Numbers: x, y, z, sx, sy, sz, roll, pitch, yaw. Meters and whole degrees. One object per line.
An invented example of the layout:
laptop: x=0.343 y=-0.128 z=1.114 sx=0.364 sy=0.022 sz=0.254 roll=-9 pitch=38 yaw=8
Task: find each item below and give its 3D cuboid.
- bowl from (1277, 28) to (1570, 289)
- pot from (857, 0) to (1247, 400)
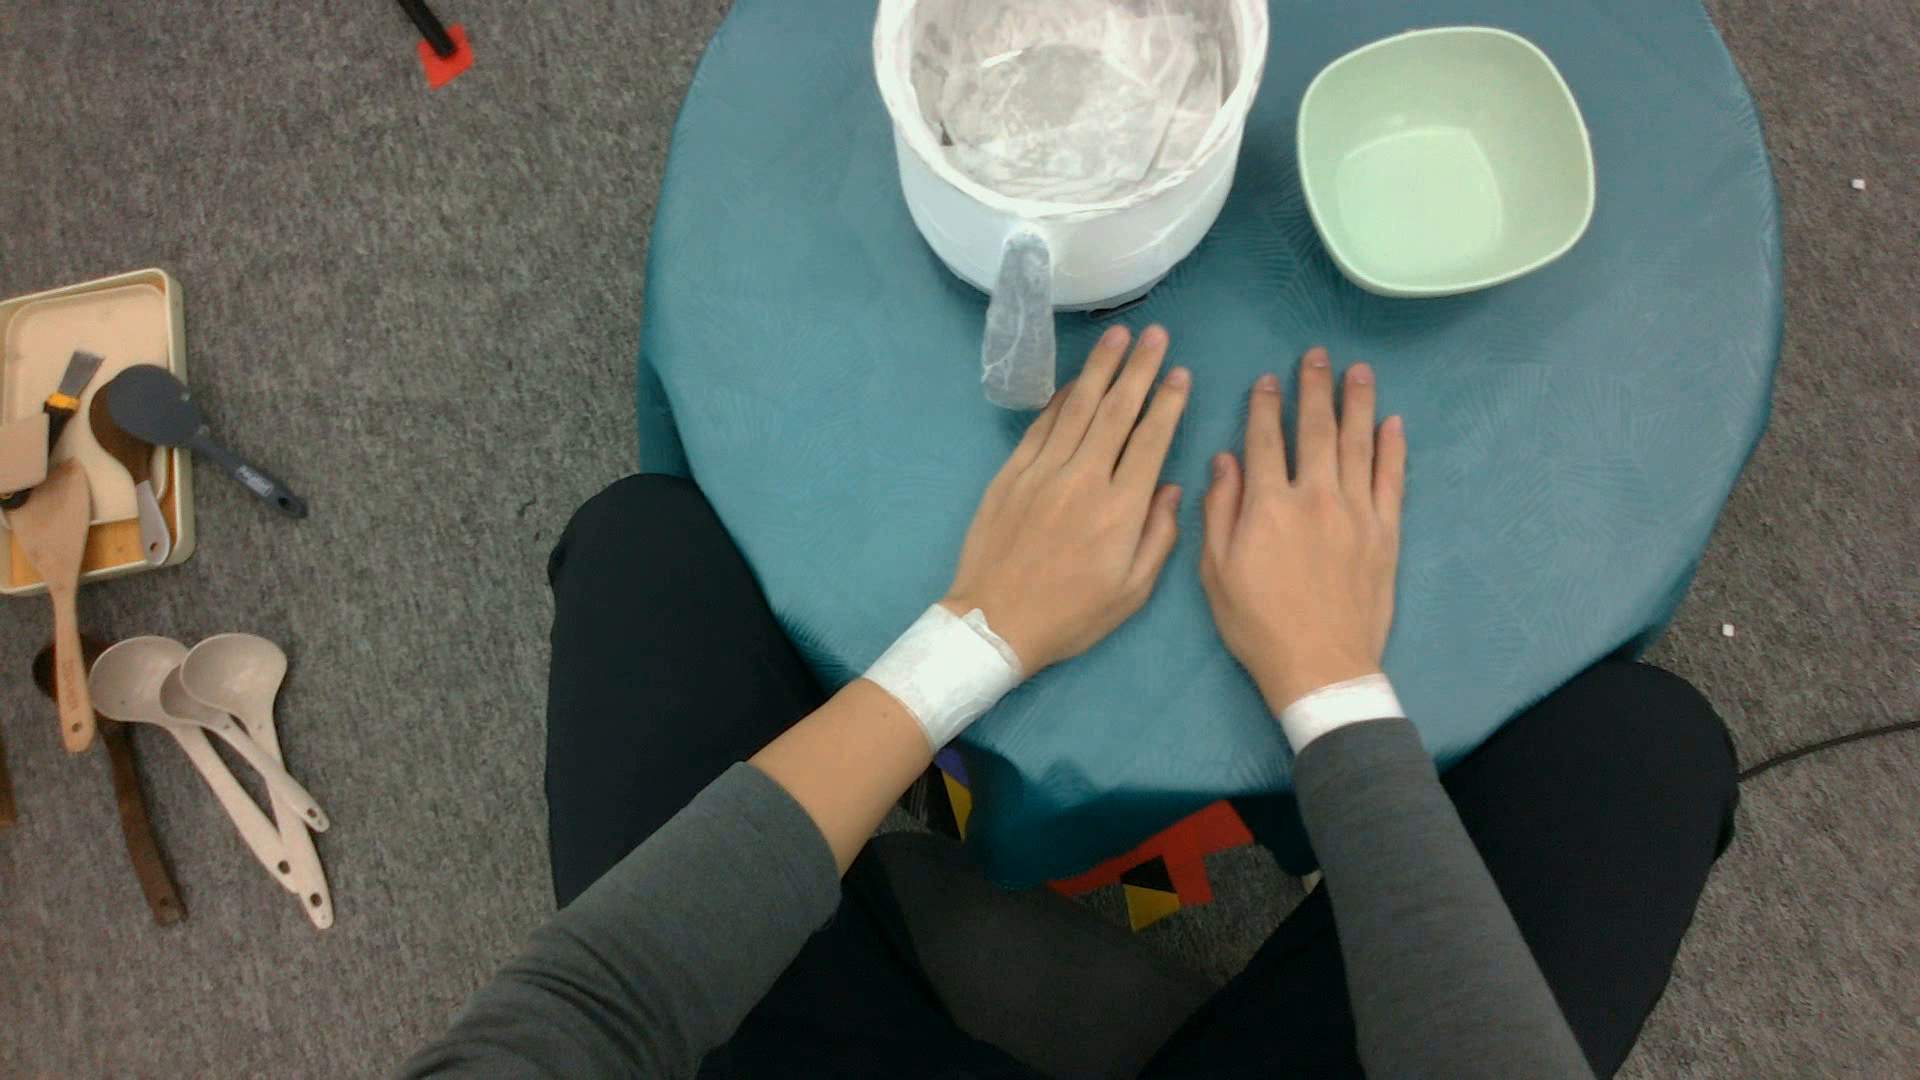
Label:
bowl: x=0.231 y=-0.186 z=0.710 sx=0.151 sy=0.058 sz=0.152 roll=-1 pitch=75 yaw=3
pot: x=0.040 y=-0.192 z=0.682 sx=0.178 sy=0.136 sz=0.234 roll=9 pitch=79 yaw=5
